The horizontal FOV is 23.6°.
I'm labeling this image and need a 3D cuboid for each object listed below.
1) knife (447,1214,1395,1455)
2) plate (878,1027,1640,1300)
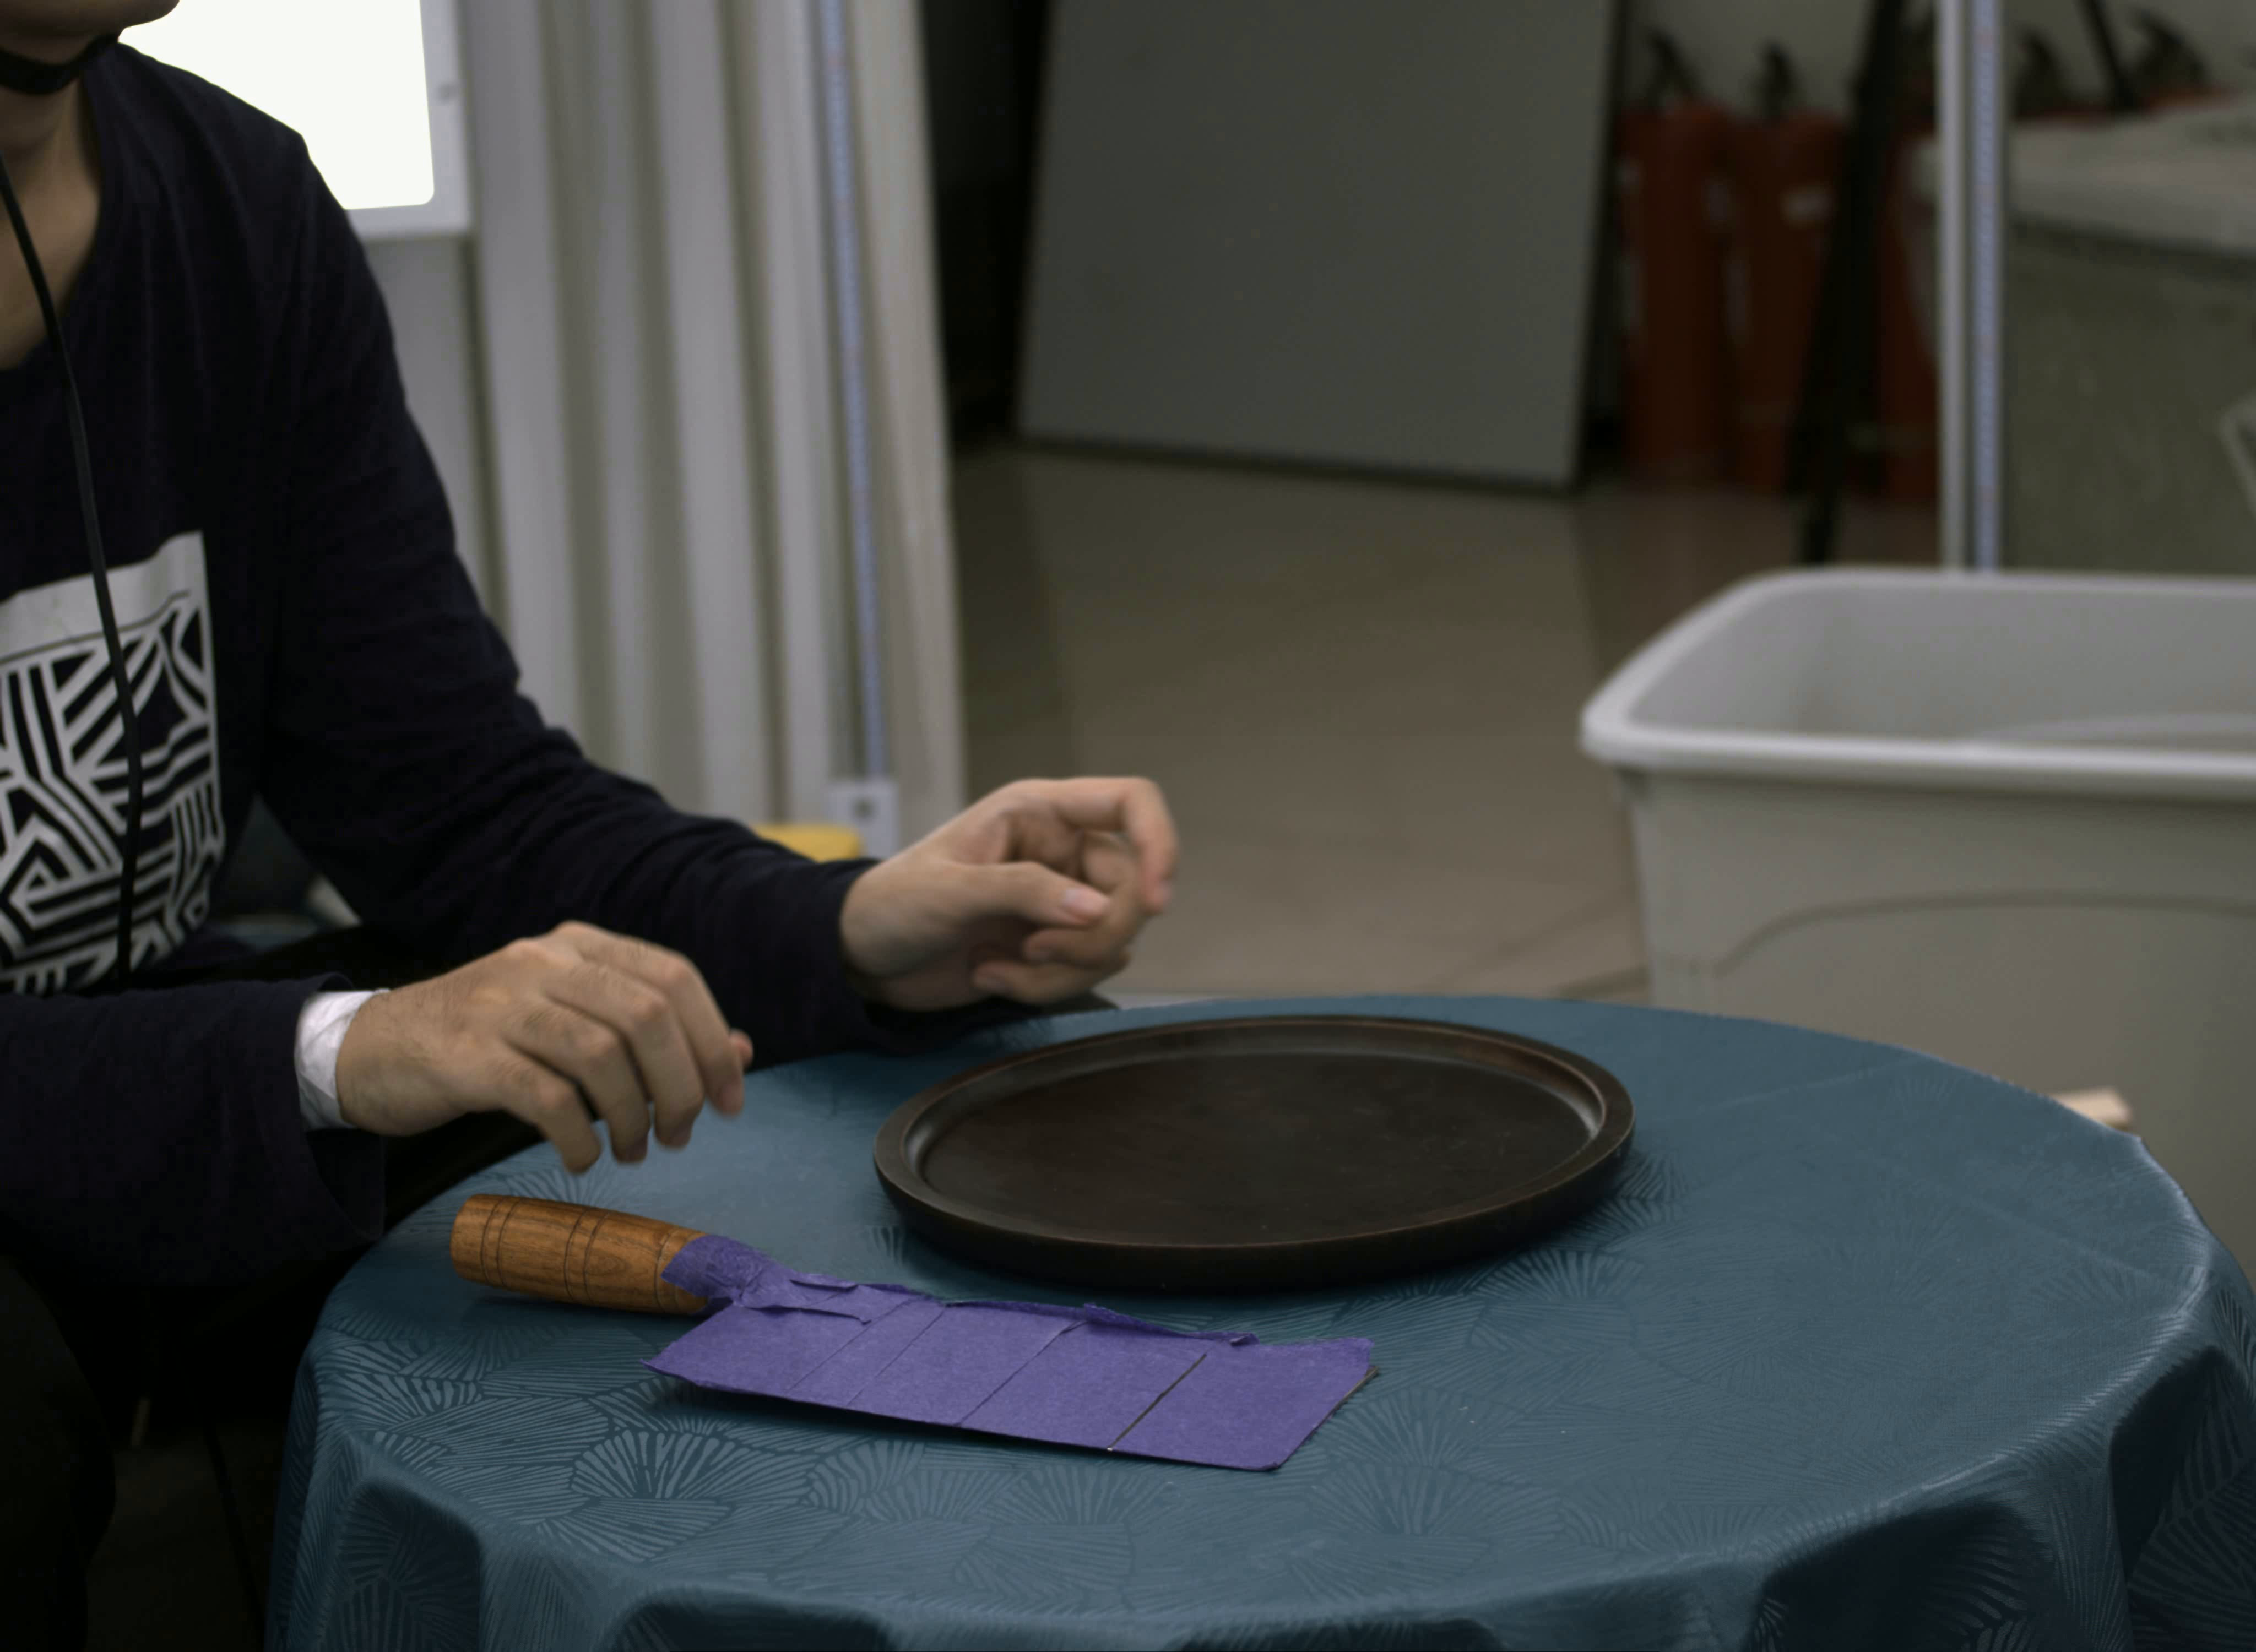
[{"bbox_3d":[-0.080,0.152,1.616,0.316,0.032,0.102,3,15,26],"label":"knife"},{"bbox_3d":[0.043,0.108,1.768,0.251,0.029,0.255,-3,14,0],"label":"plate"}]
